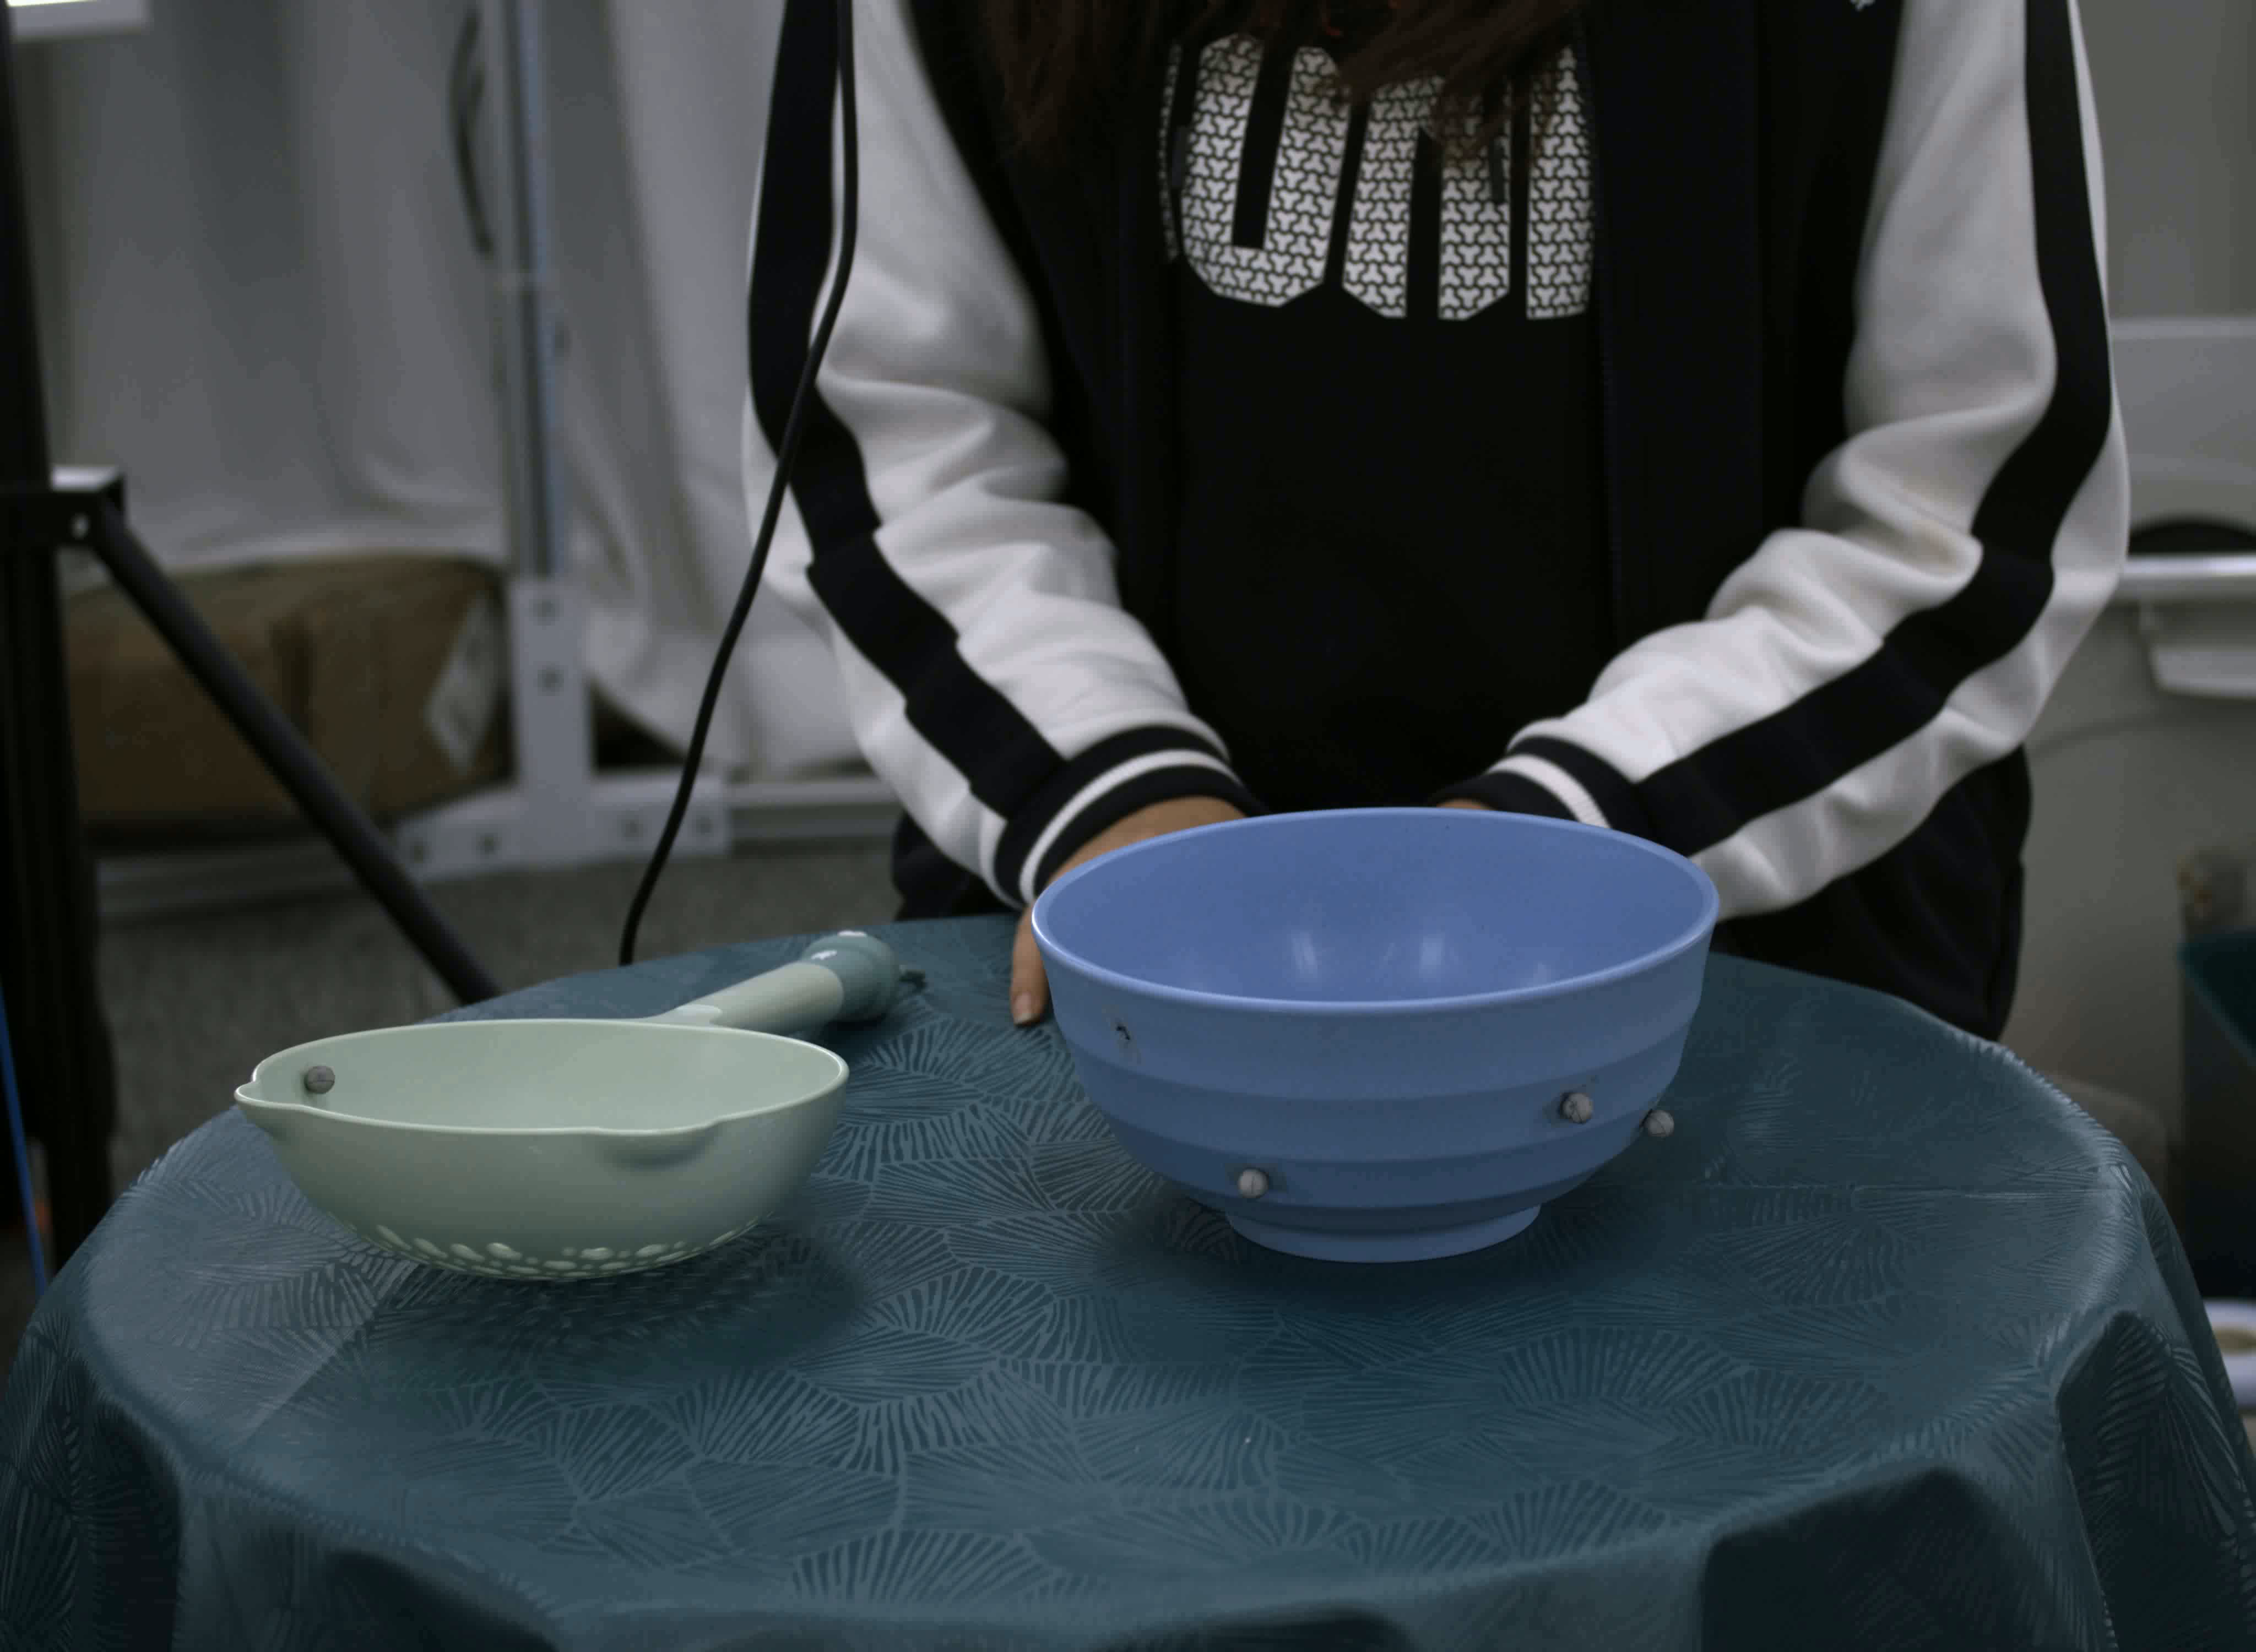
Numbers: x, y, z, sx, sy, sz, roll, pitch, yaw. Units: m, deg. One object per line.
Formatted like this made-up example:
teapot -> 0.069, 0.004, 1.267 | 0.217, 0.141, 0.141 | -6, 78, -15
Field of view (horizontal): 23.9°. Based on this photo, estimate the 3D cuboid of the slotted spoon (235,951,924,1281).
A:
slotted spoon -> -0.132, 0.071, 1.601 | 0.171, 0.075, 0.354 | 4, 15, 19

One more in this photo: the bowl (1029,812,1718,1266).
bowl -> 0.071, 0.066, 1.520 | 0.195, 0.095, 0.197 | -3, 15, 0
